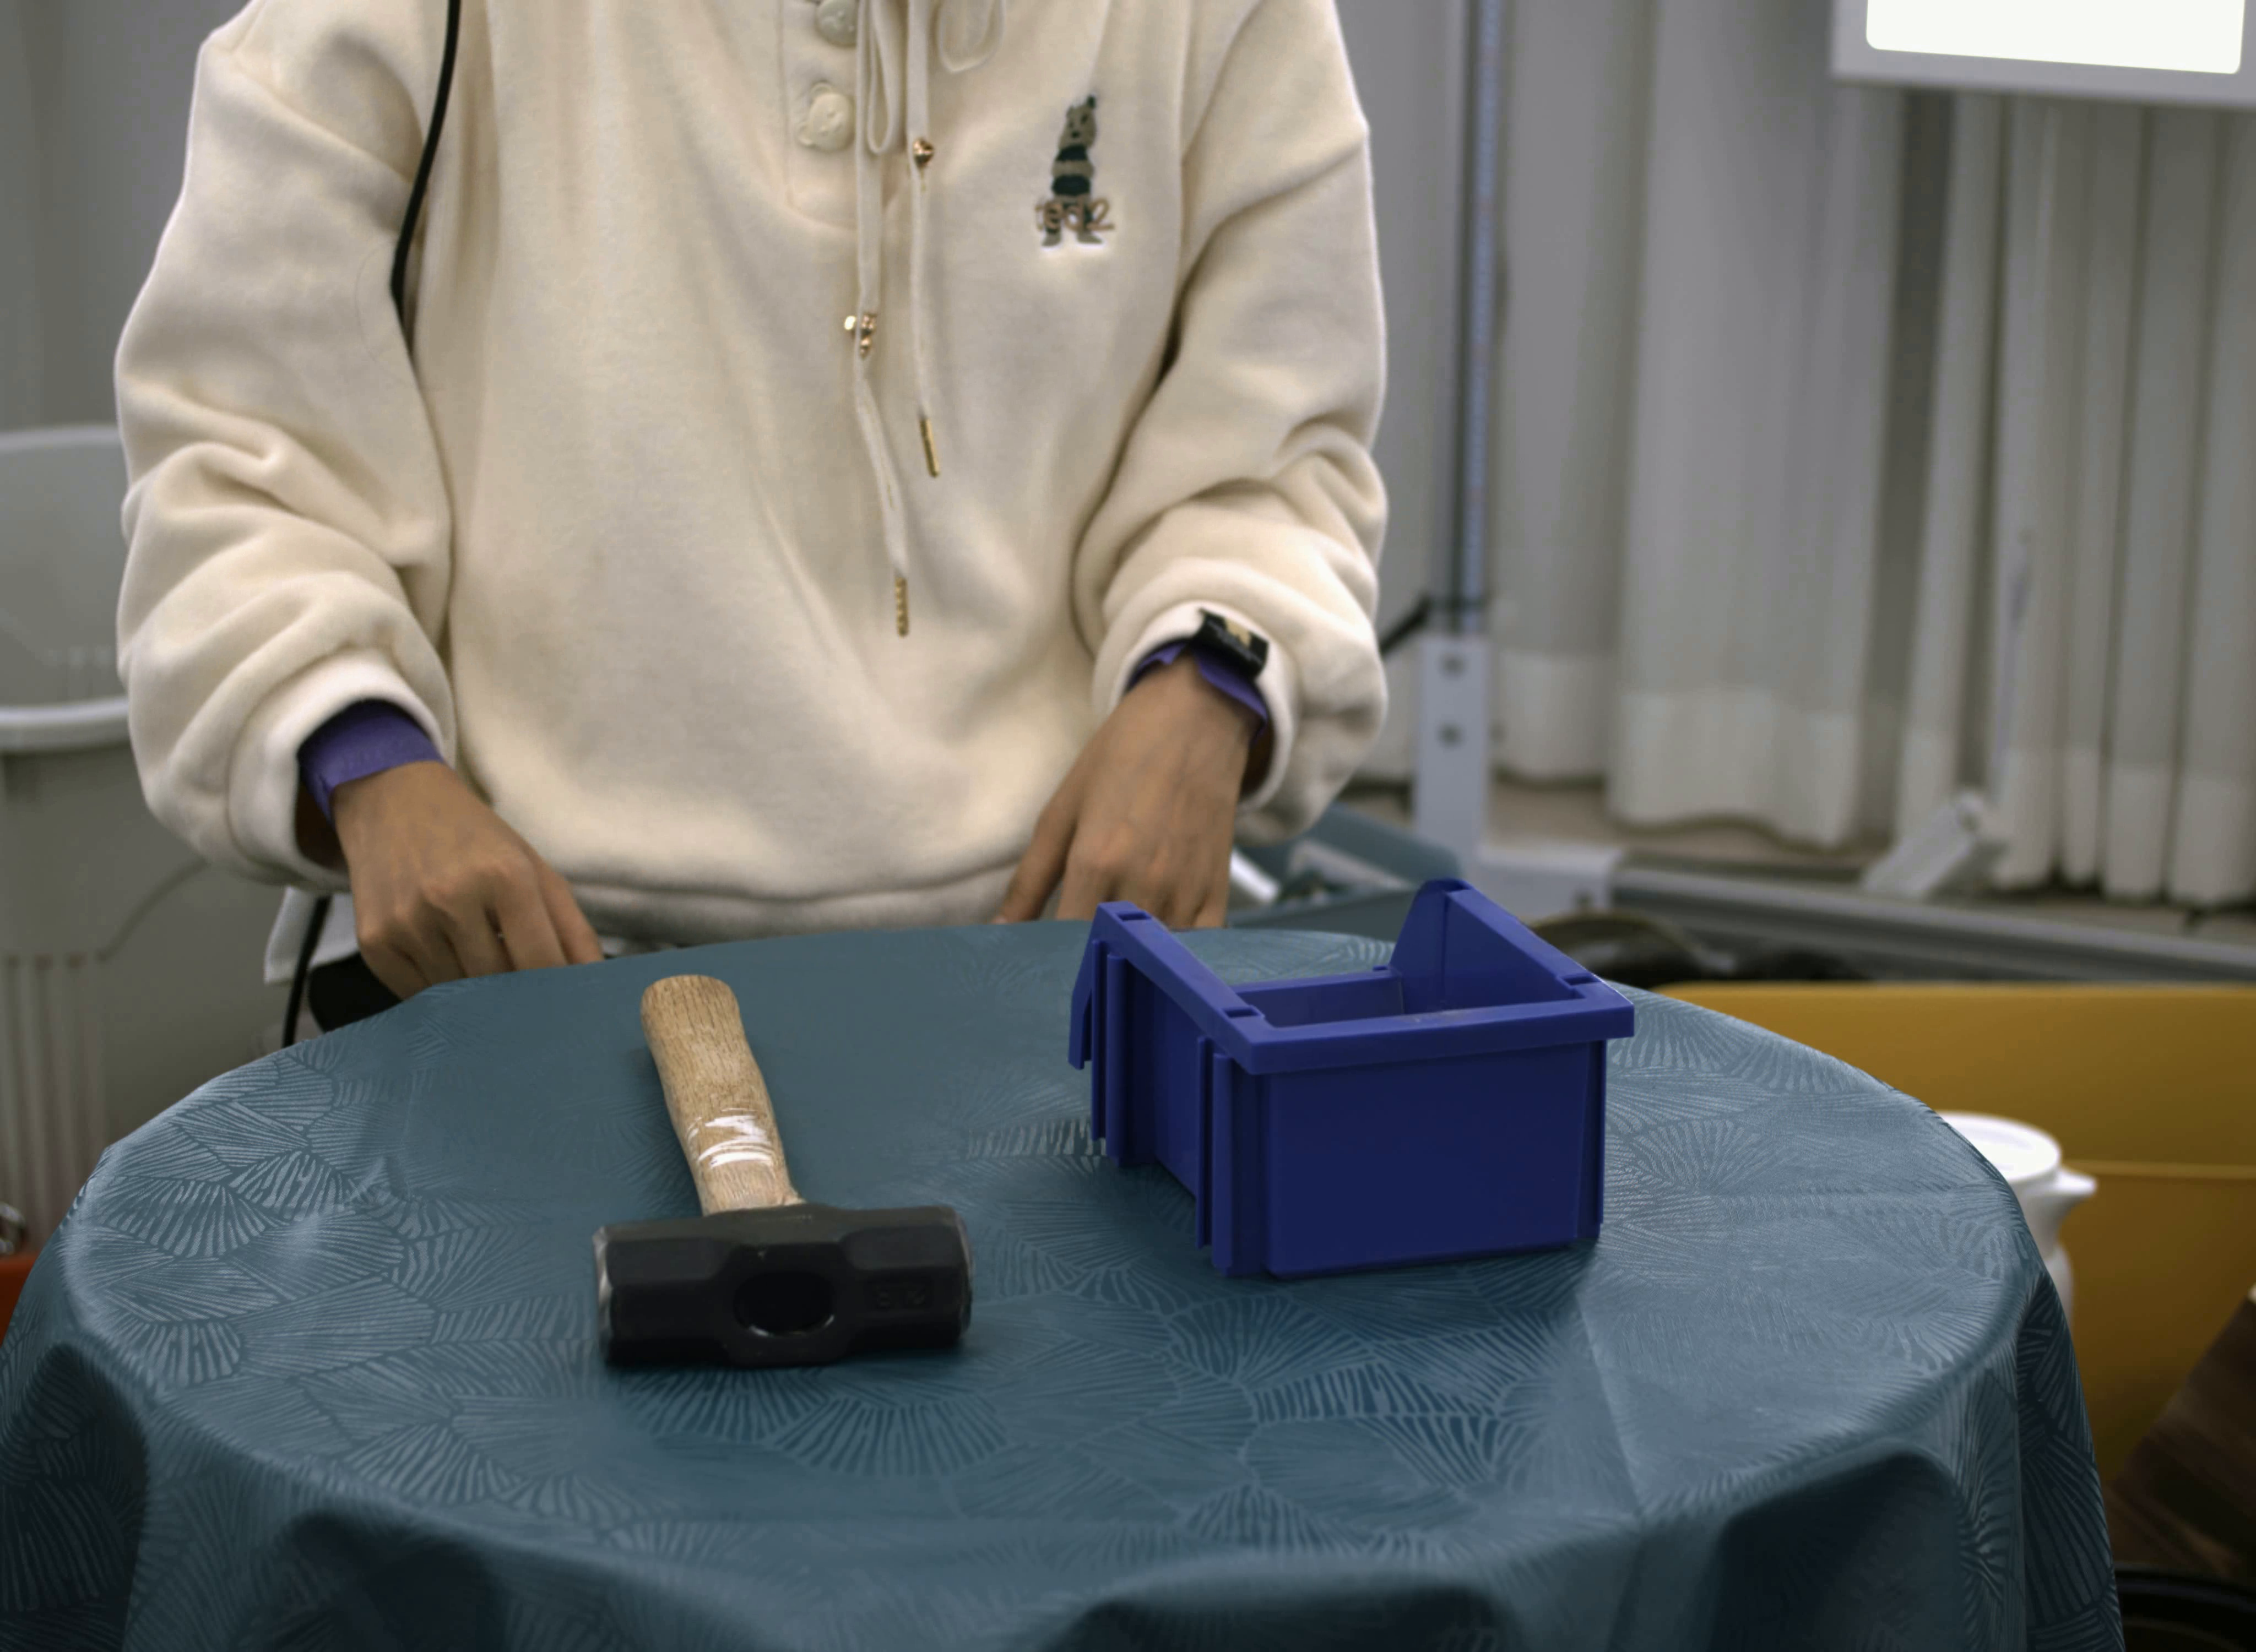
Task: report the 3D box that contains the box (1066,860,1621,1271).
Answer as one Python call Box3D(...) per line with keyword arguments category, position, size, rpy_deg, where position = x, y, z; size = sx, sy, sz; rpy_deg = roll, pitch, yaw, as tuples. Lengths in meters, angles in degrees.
Box3D(category="box", position=(0.061, 0.070, 1.625), size=(0.125, 0.082, 0.177), rpy_deg=(-5, 19, -17))

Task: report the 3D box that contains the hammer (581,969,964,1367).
Box3D(category="hammer", position=(-0.117, 0.097, 1.611), size=(0.107, 0.038, 0.303), rpy_deg=(-2, 14, -7))
